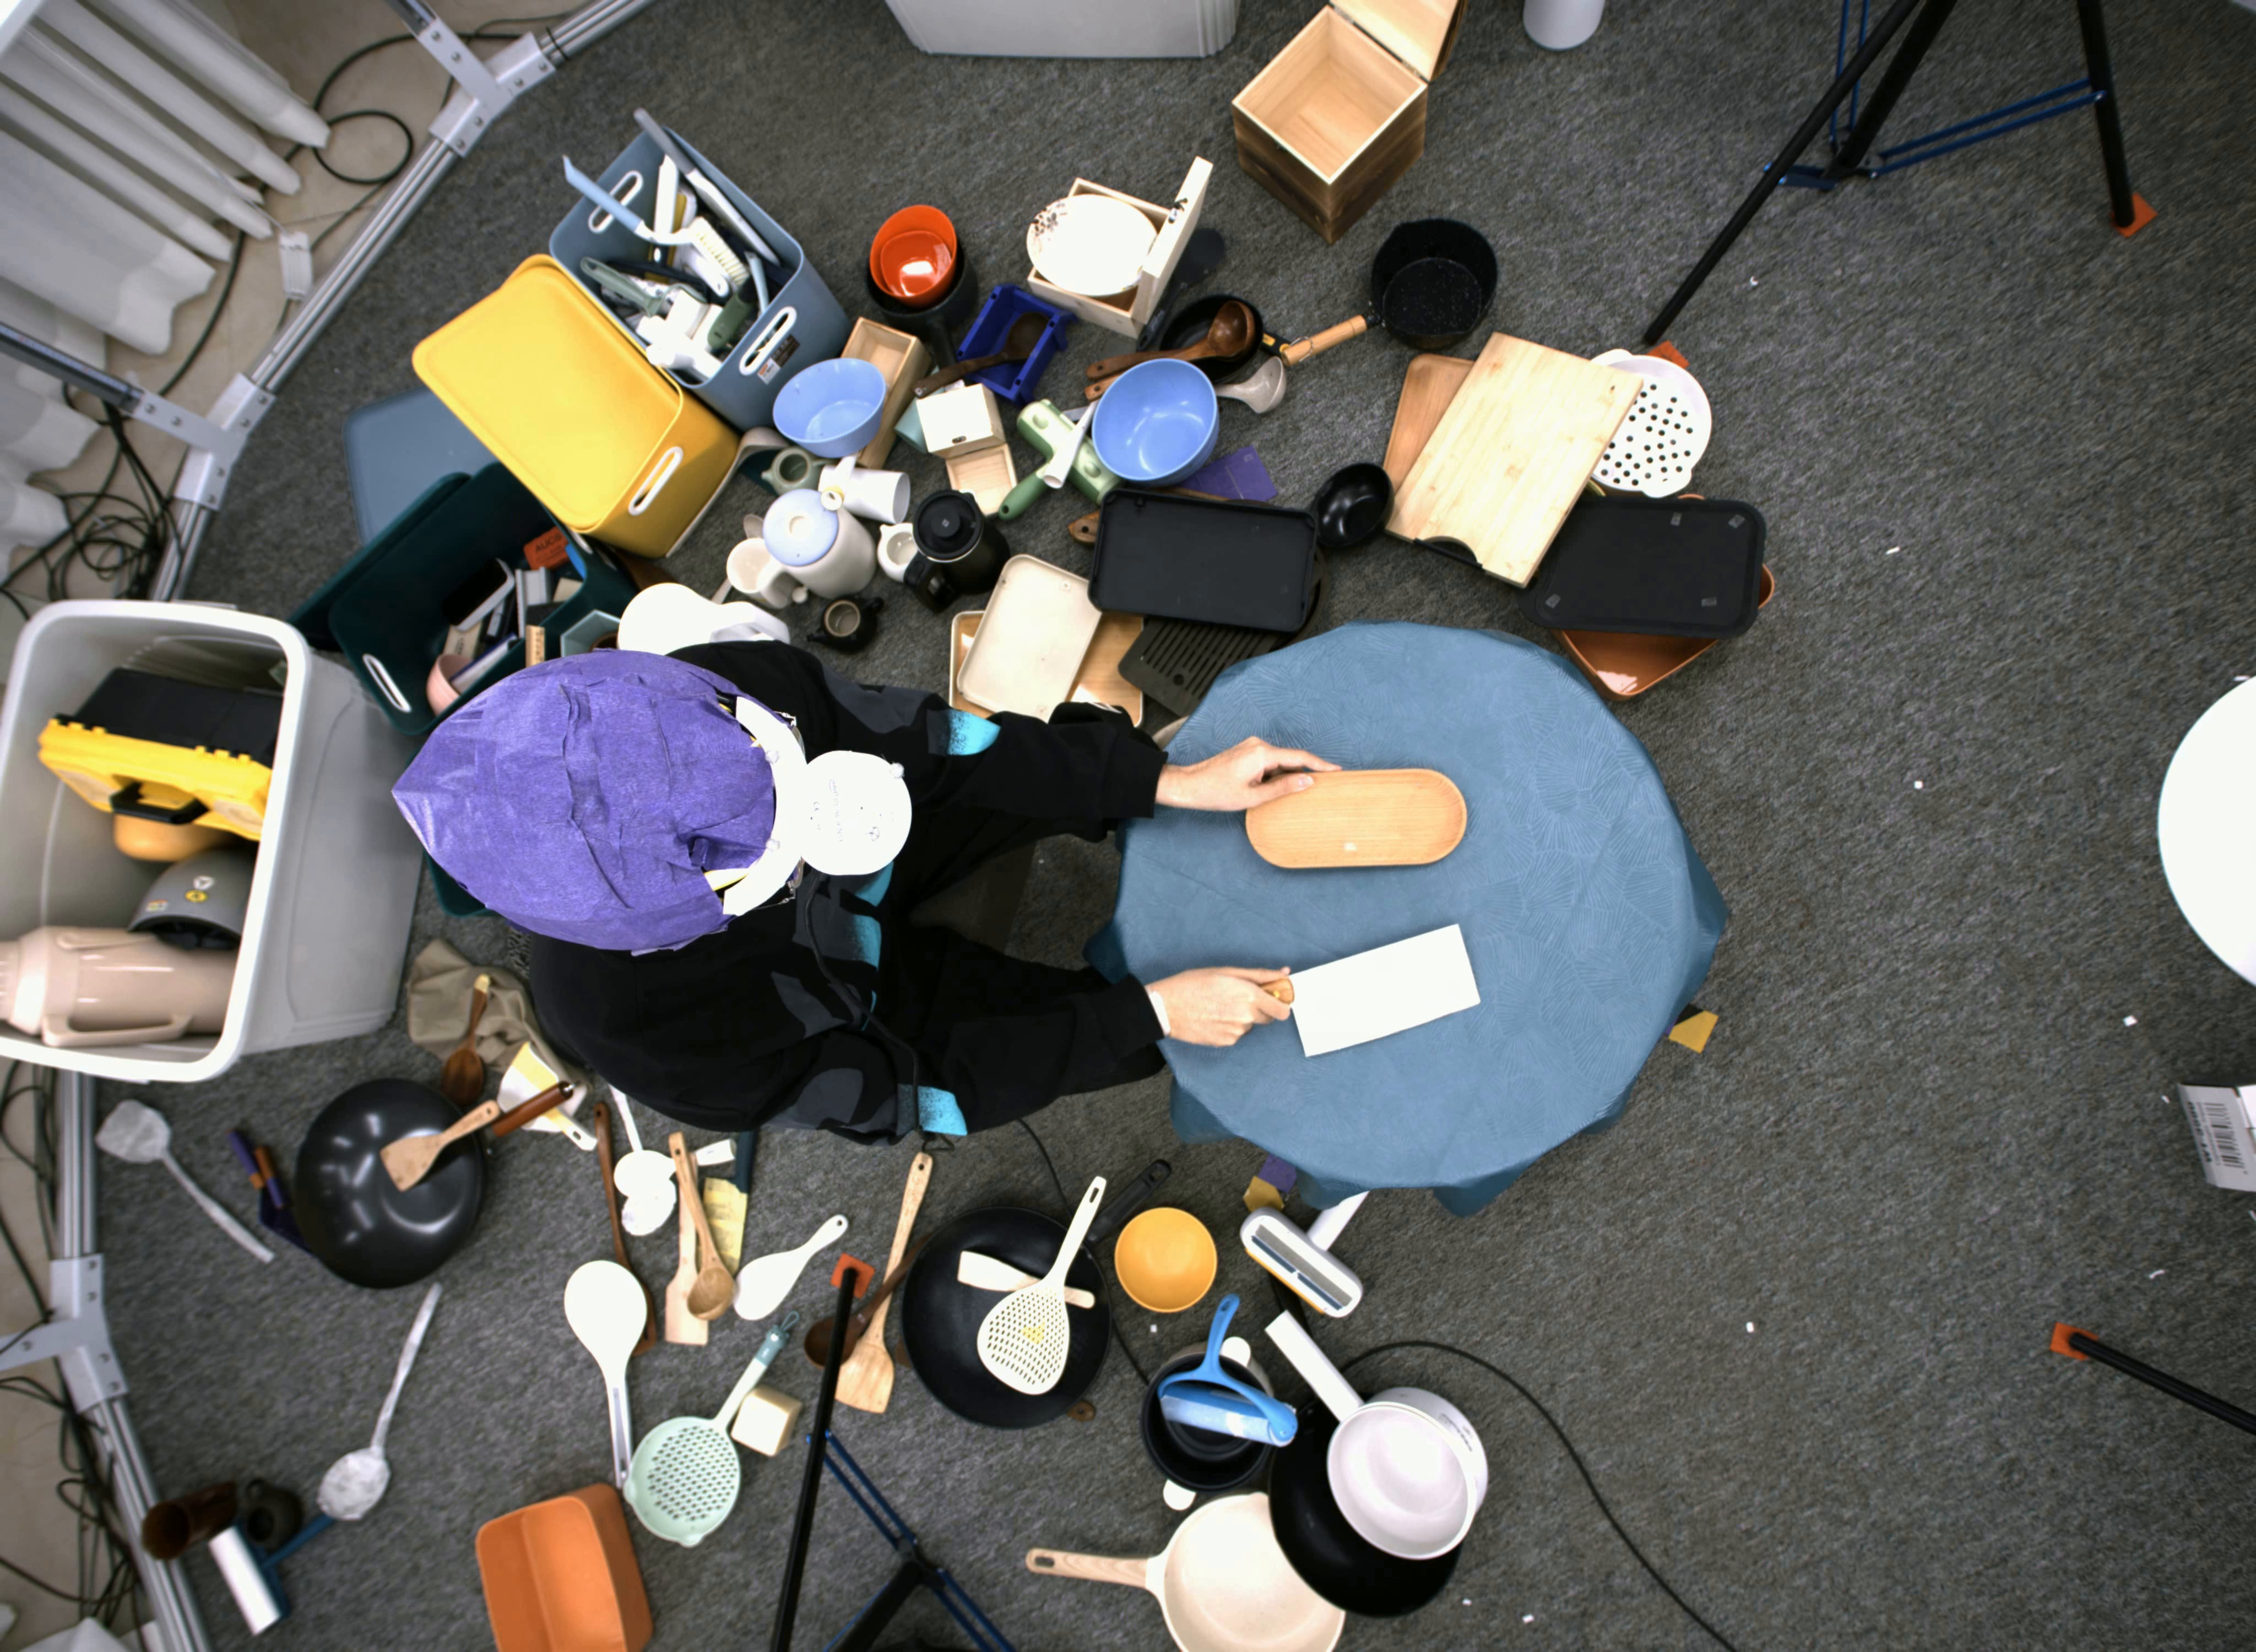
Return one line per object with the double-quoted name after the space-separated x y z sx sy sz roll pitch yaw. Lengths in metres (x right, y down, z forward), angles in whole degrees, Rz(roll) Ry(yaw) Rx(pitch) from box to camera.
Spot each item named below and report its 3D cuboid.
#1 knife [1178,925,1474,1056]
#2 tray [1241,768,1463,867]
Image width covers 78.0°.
0.208 0.187 1.437 0.307 0.021 0.093 -18 102 5 "knife"
0.234 -0.010 1.446 0.232 0.020 0.102 -1 93 4 "tray"
